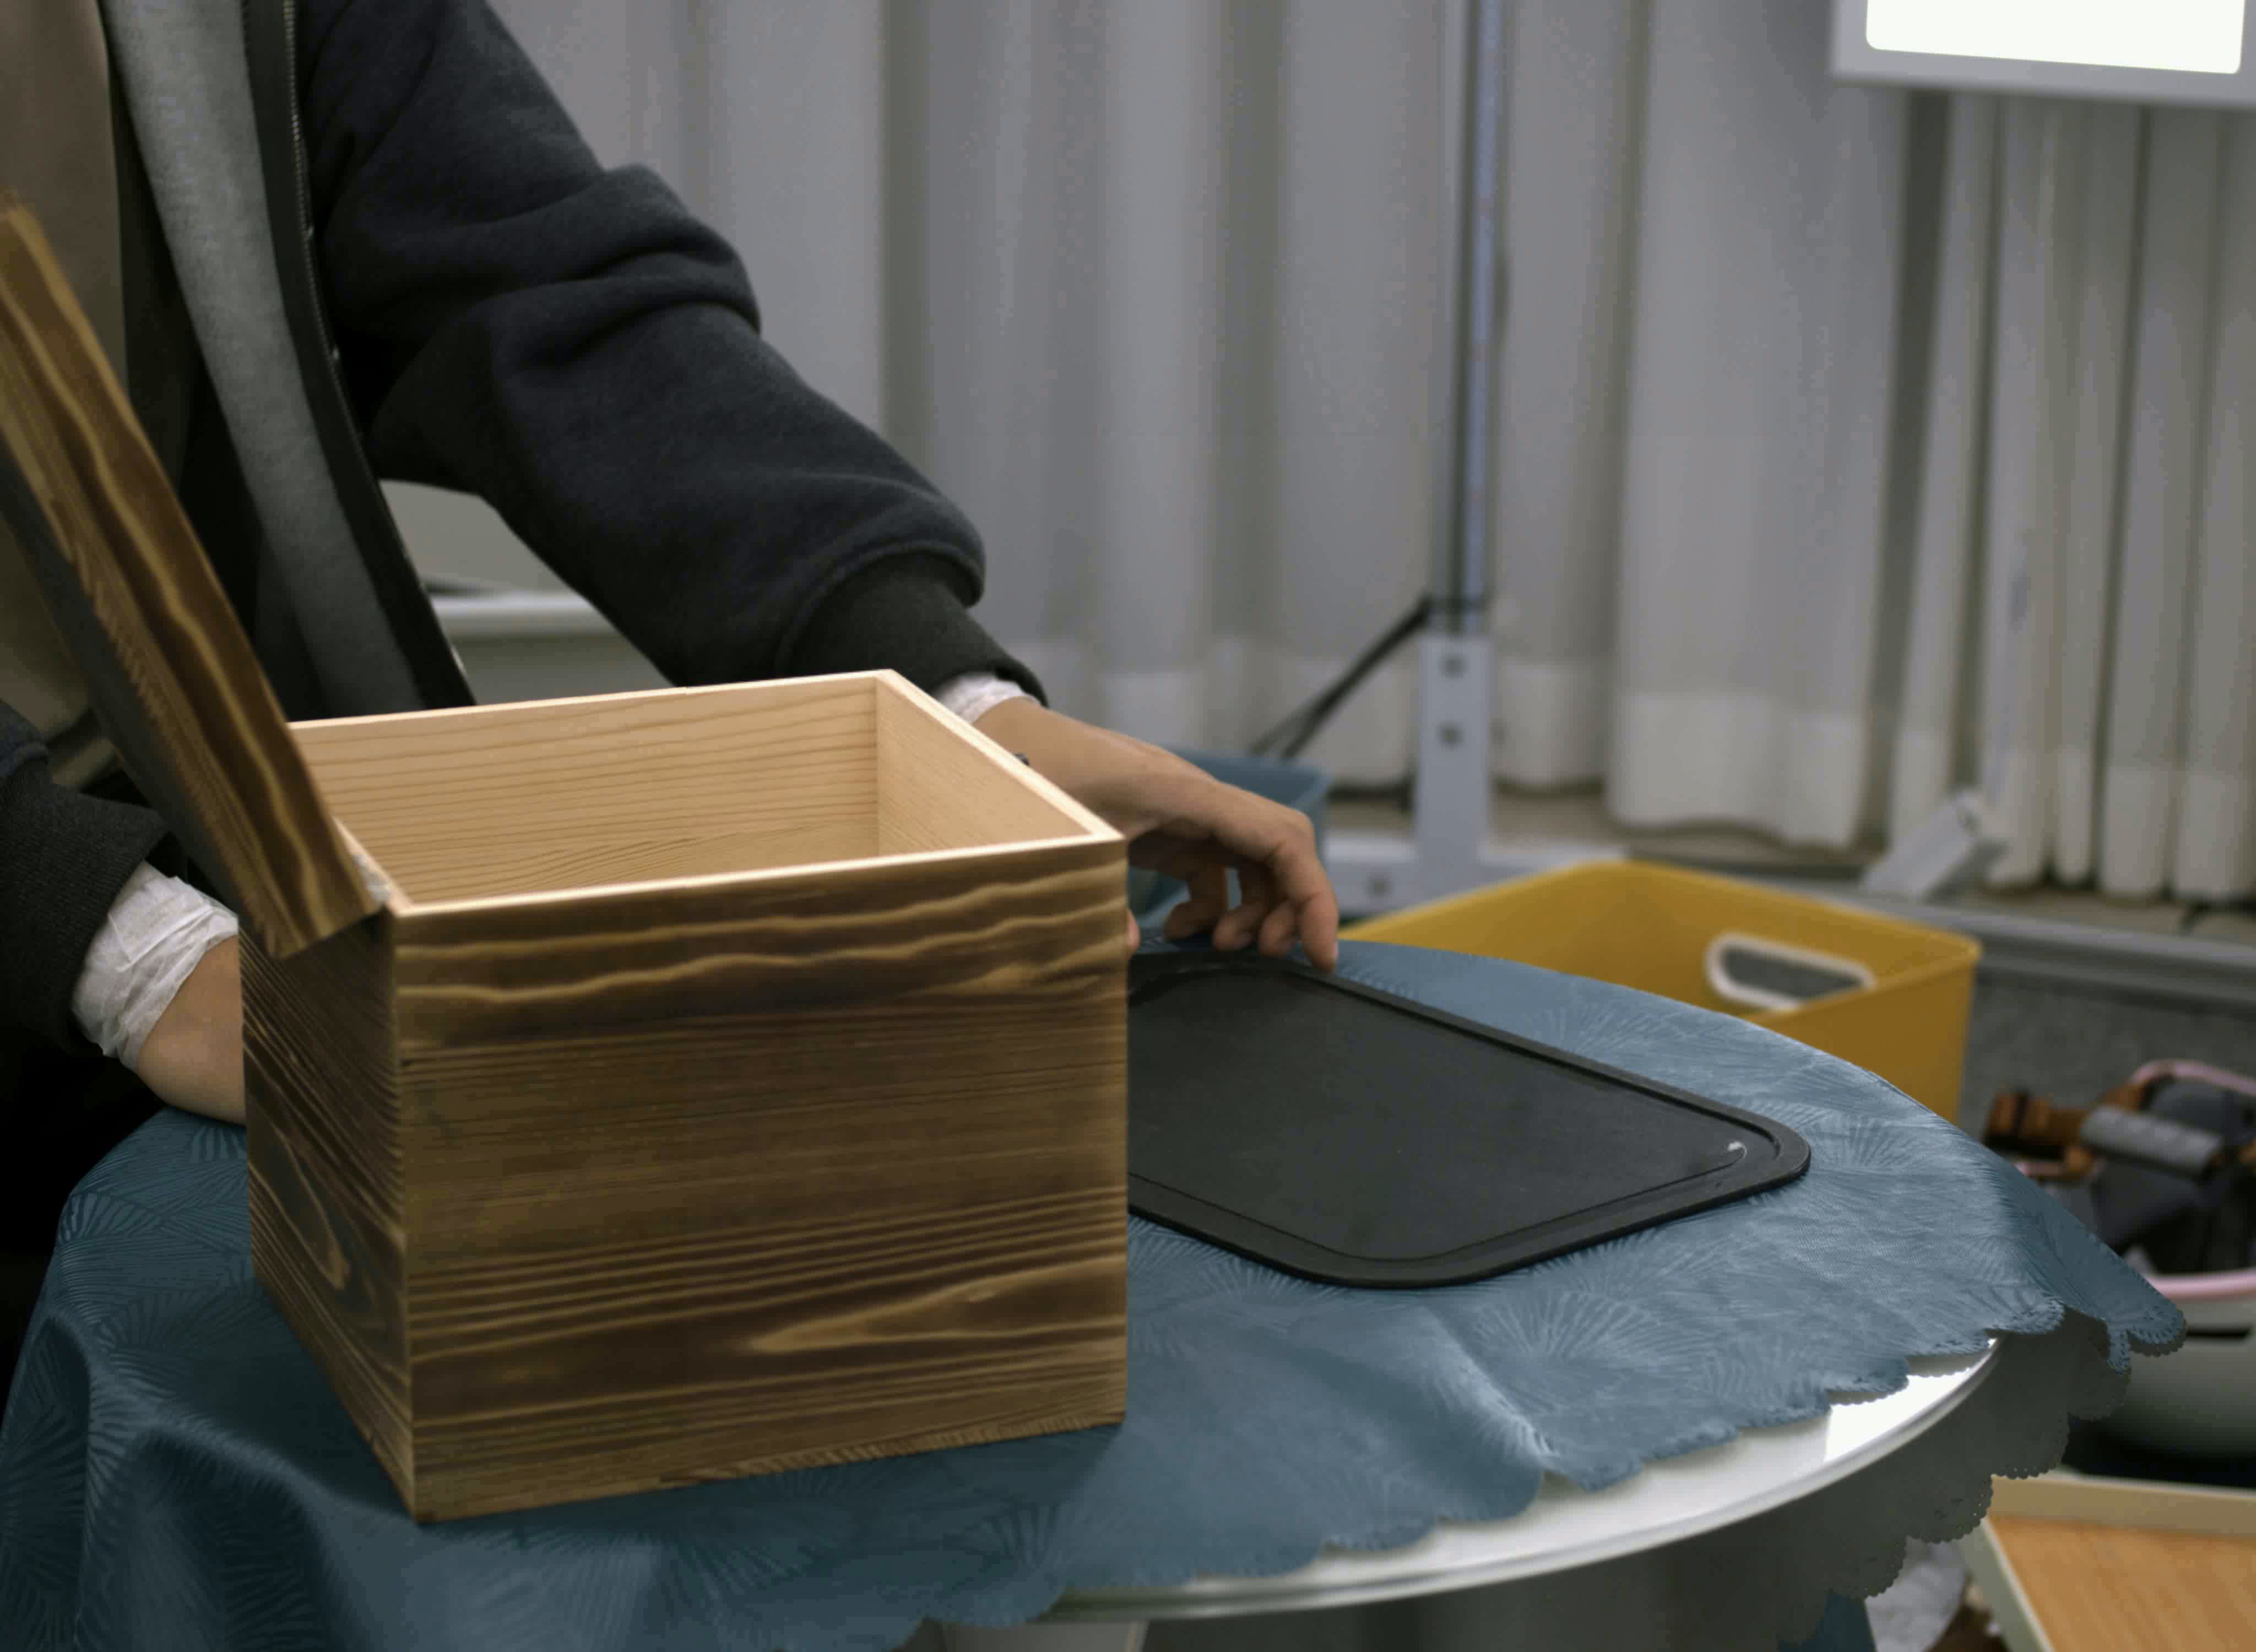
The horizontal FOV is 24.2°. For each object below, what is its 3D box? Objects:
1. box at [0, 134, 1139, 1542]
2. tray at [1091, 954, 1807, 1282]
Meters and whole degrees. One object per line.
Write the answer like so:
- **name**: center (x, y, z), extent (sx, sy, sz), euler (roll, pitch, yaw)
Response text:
- **box**: center (-0.175, -0.018, 1.417), extent (0.323, 0.378, 0.206), euler (-7, 19, -21)
- **tray**: center (0.047, 0.087, 1.702), extent (0.212, 0.010, 0.321), euler (-13, 20, -40)
